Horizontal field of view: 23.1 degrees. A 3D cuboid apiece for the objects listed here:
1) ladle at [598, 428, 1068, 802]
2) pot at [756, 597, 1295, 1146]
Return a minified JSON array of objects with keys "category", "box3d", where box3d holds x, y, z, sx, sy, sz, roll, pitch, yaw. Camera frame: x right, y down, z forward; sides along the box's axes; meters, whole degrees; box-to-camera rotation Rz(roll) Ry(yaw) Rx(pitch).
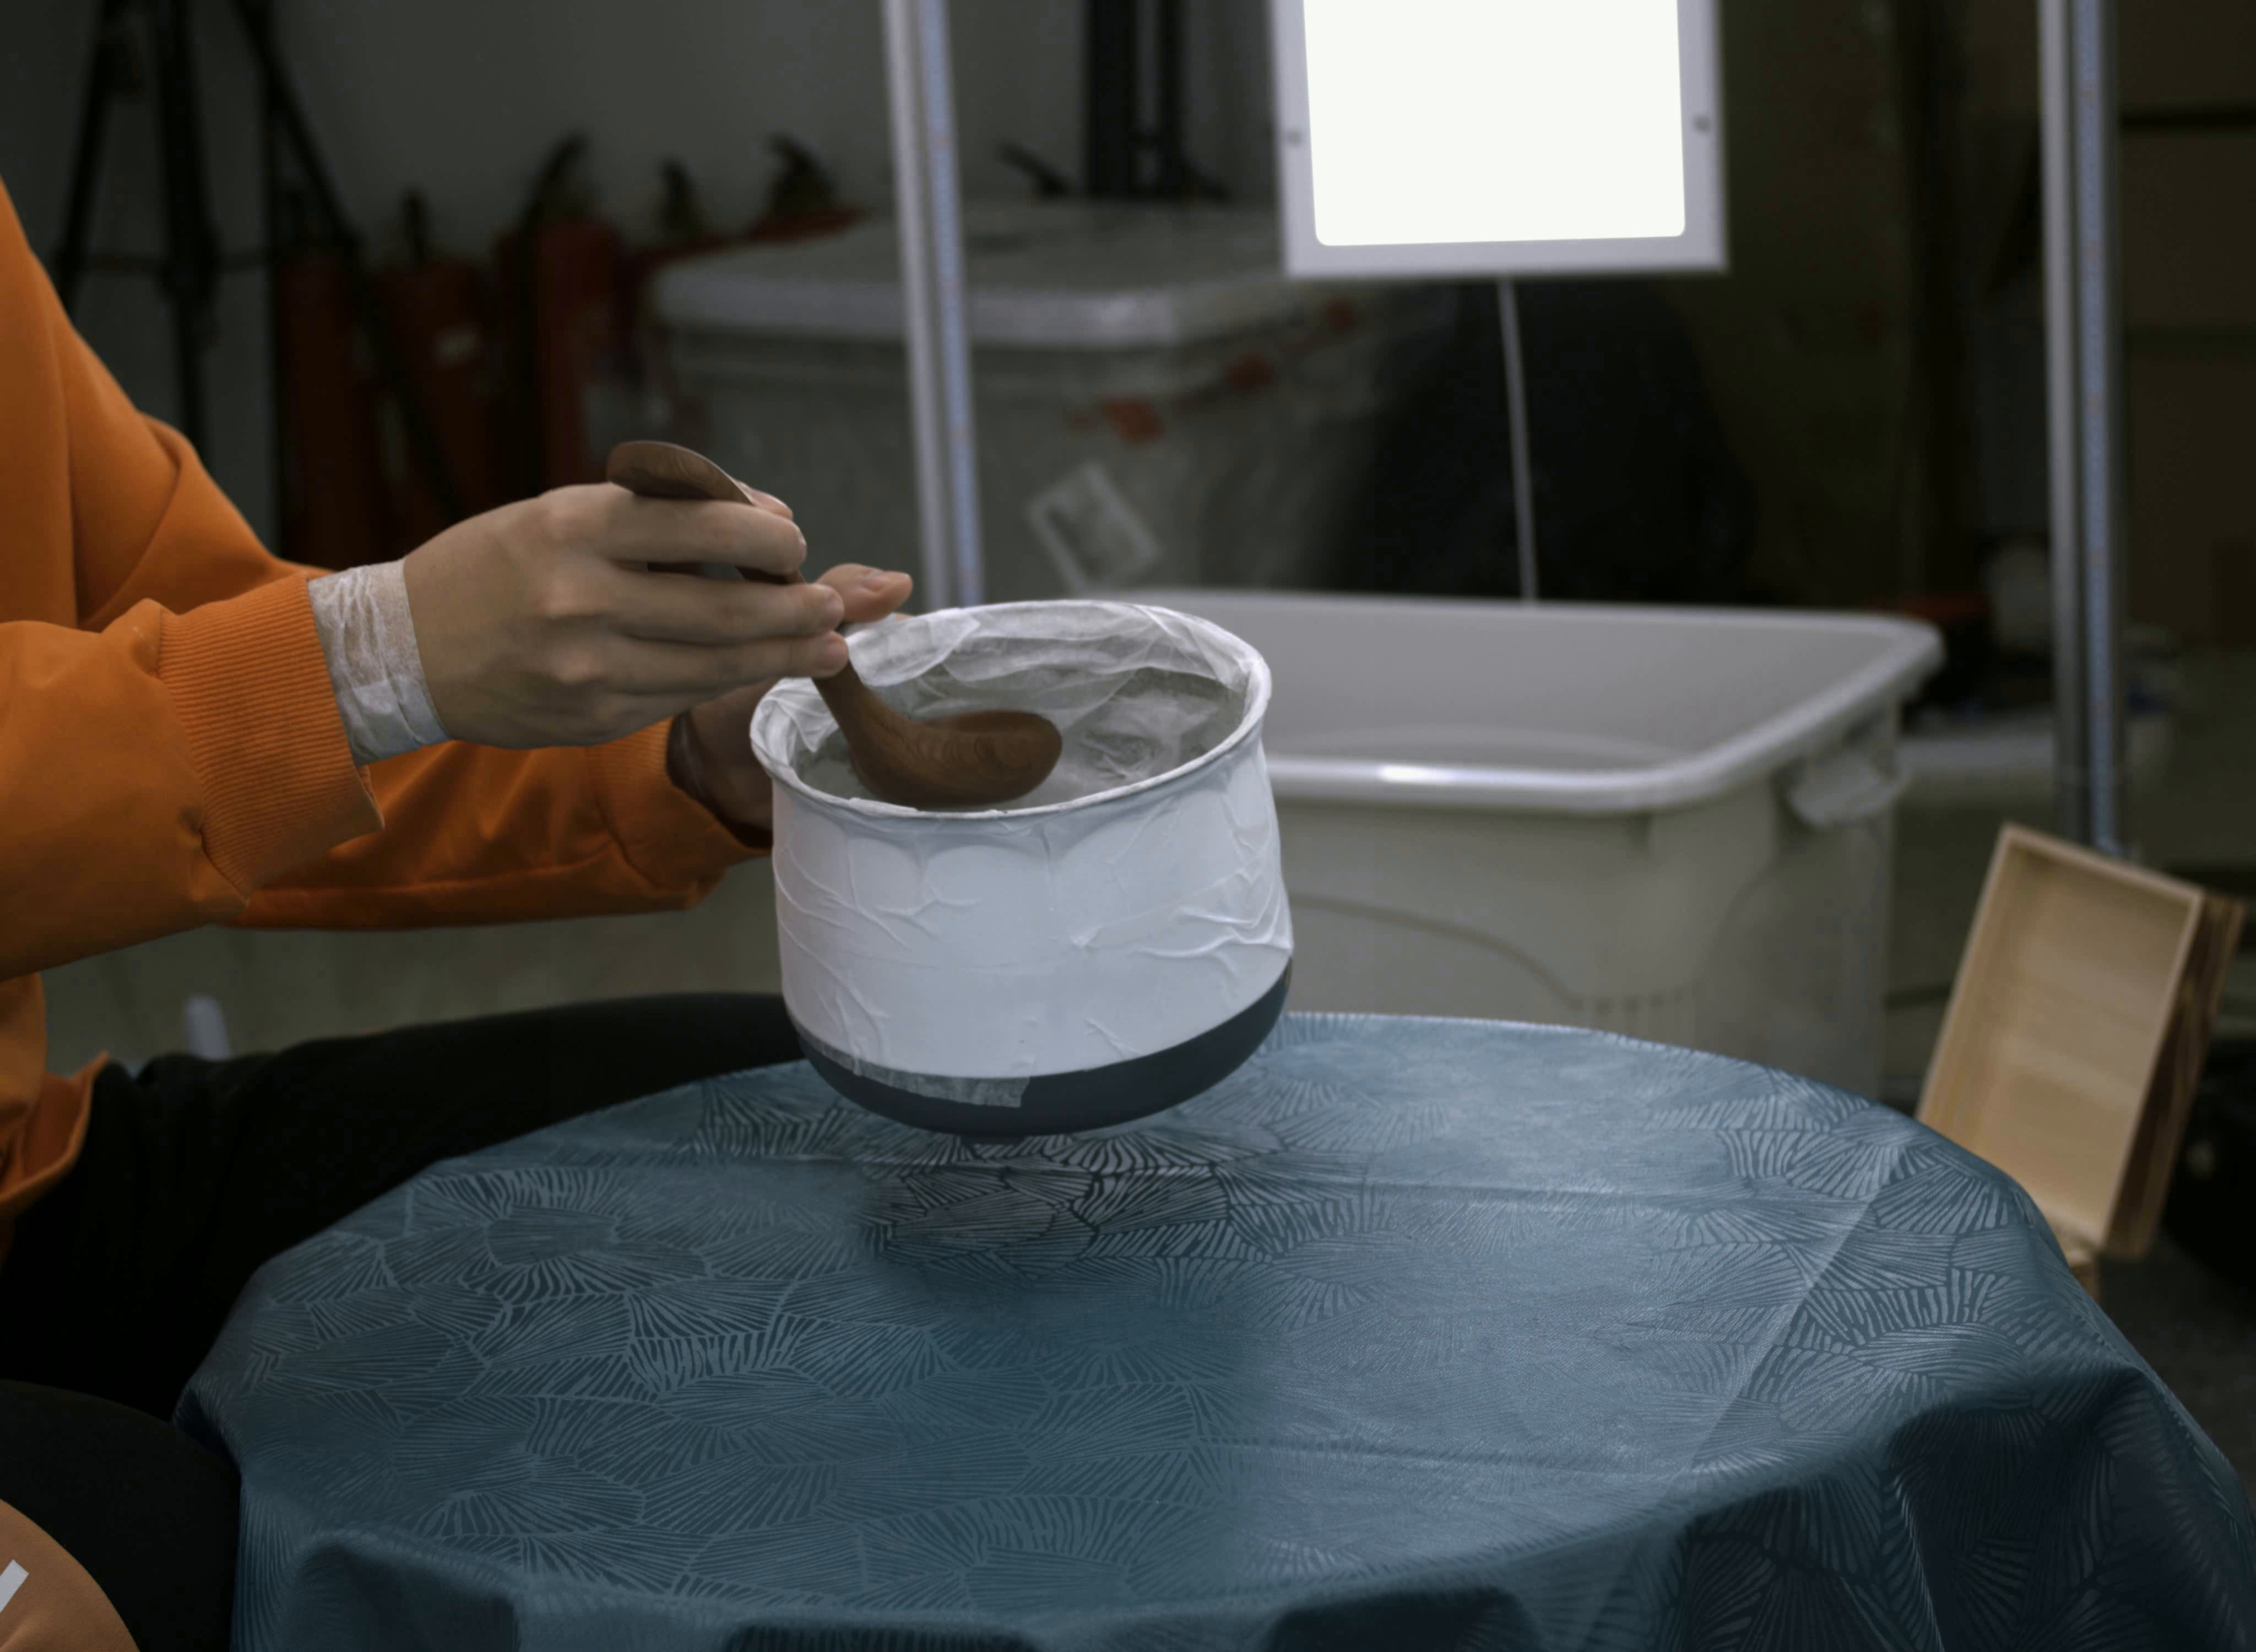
[{"category":"ladle","box3d":[-0.099,-0.076,1.807,0.078,0.257,0.065,-8,56,26]},{"category":"pot","box3d":[-0.048,0.007,1.896,0.175,0.137,0.237,-19,28,-26]}]
